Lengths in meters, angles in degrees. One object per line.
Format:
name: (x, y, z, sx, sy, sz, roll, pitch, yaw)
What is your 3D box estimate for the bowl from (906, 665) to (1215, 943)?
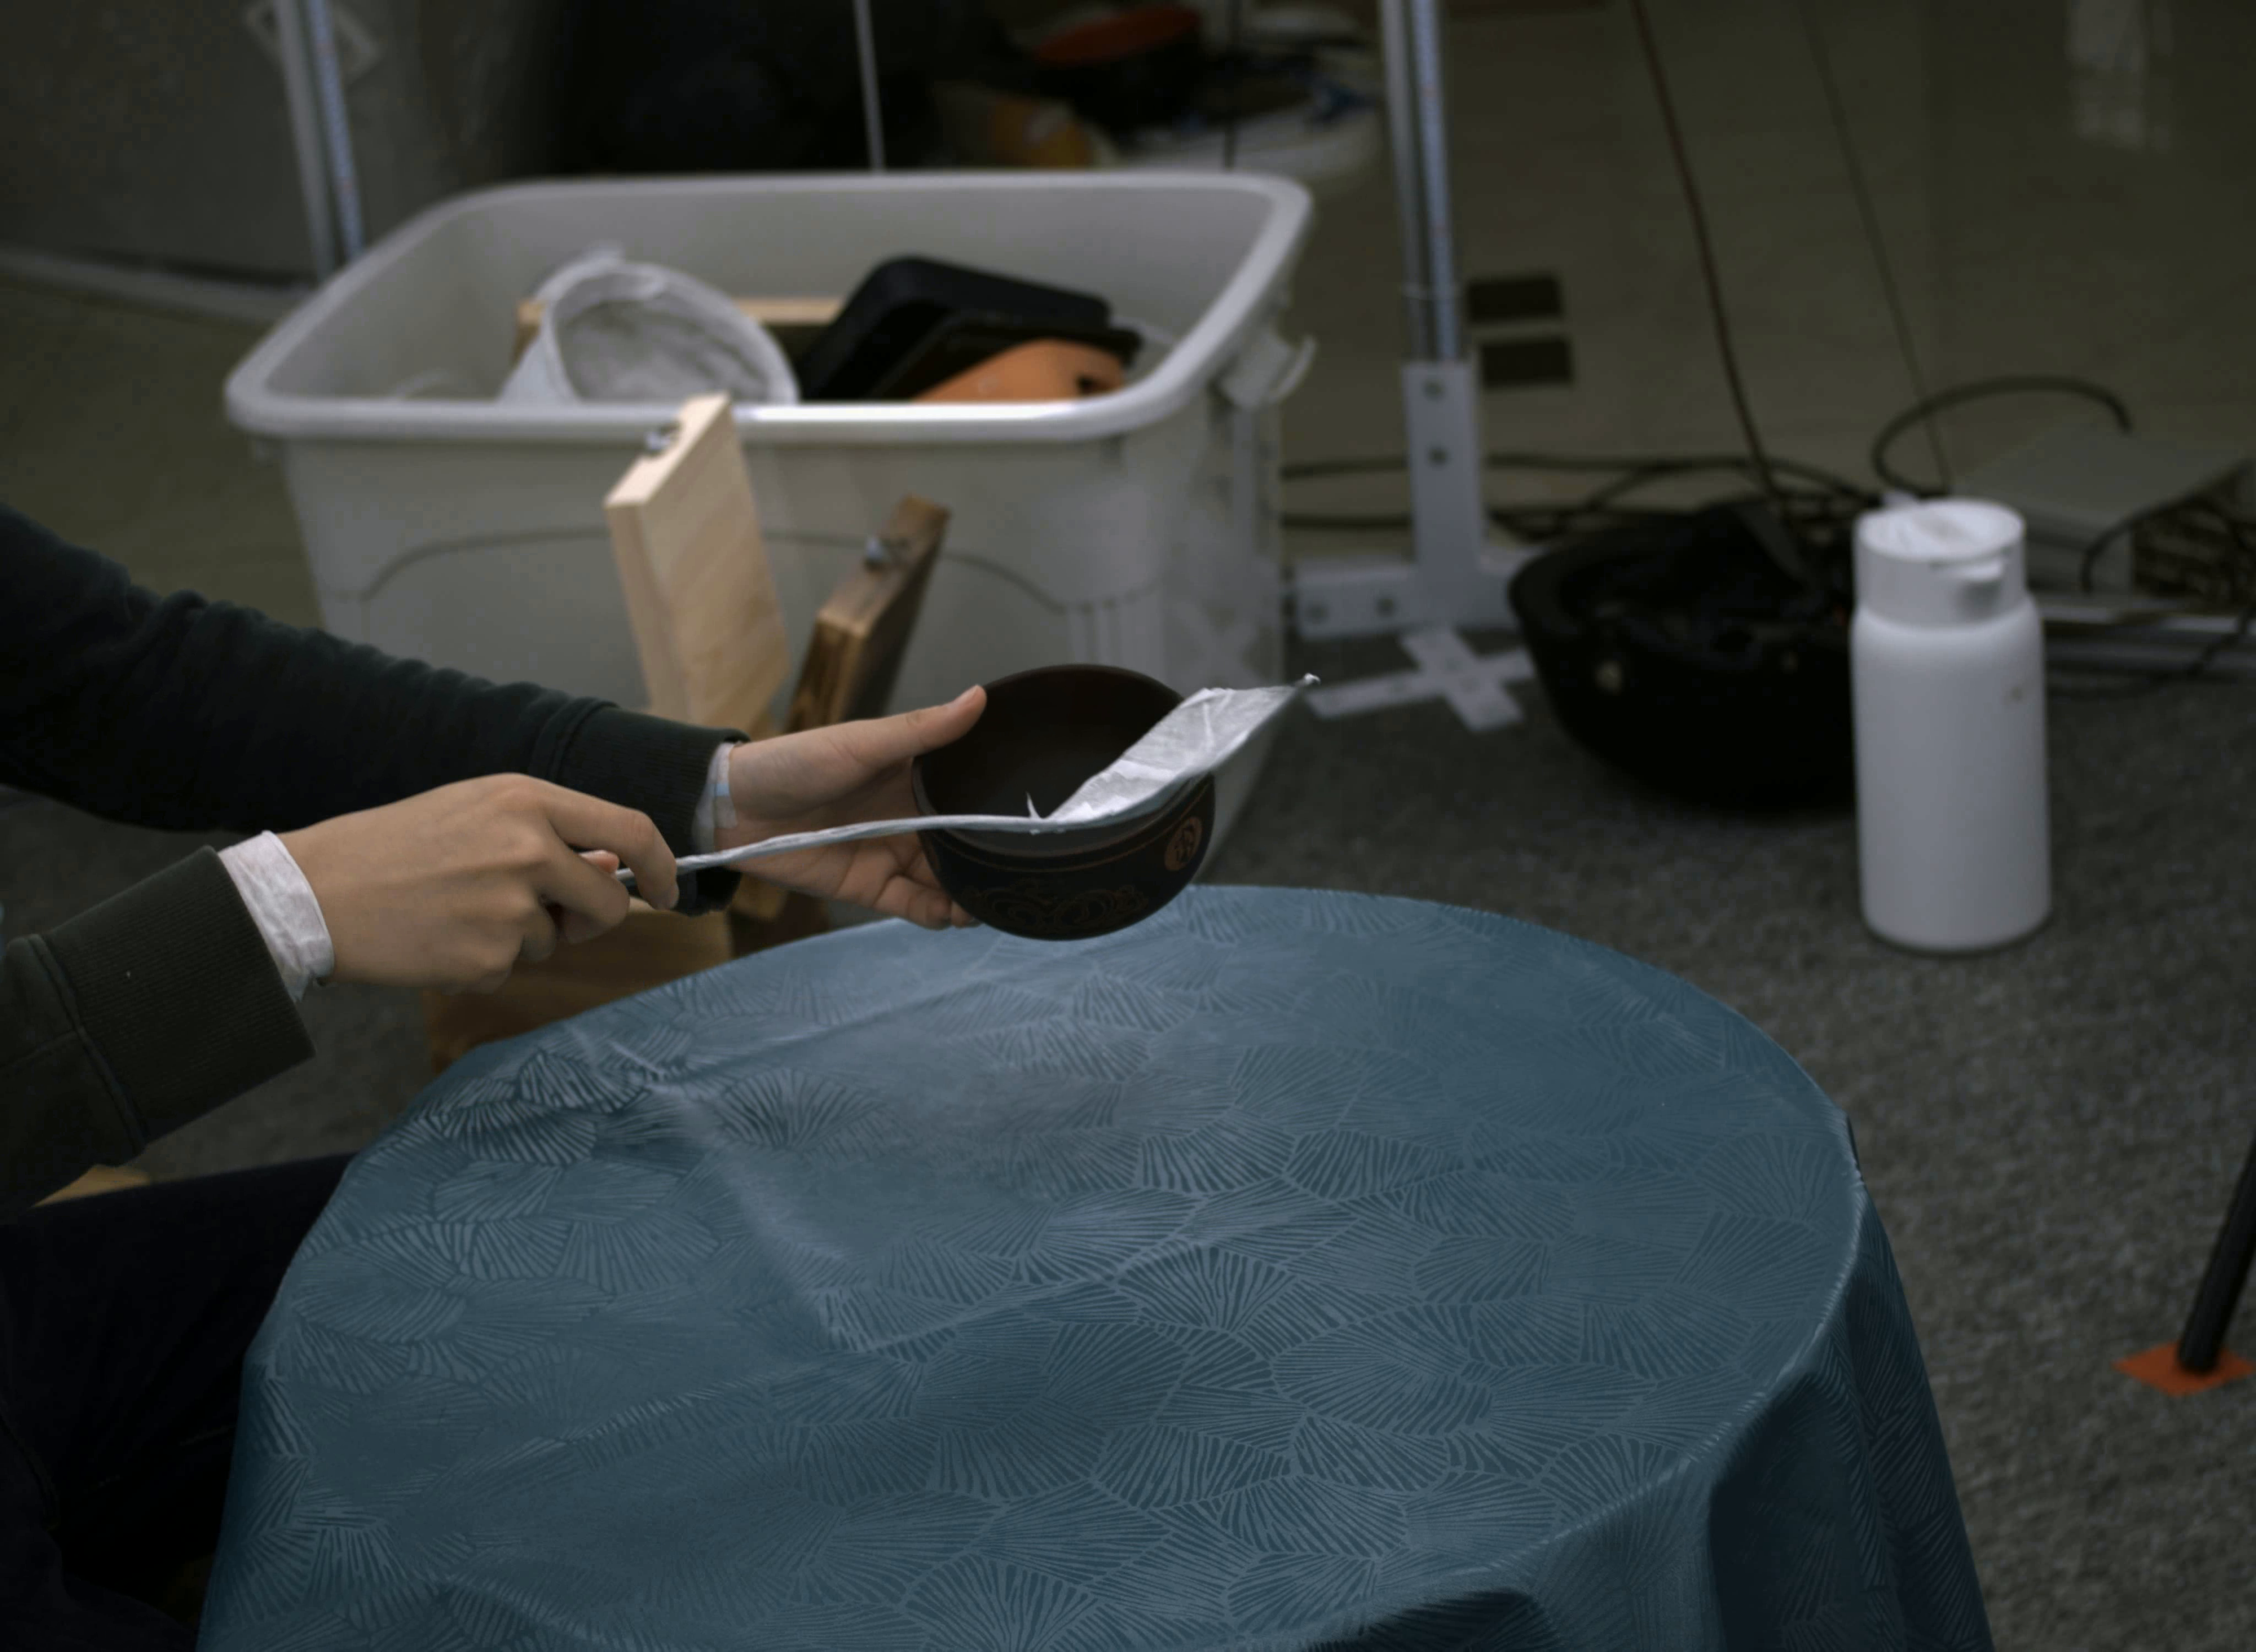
bowl: (-0.023, 0.000, 2.172, 0.118, 0.071, 0.116, -6, 40, 5)

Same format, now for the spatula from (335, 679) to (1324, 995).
spatula: (-0.100, 0.002, 1.935, 0.363, 0.045, 0.098, -11, 4, -25)
